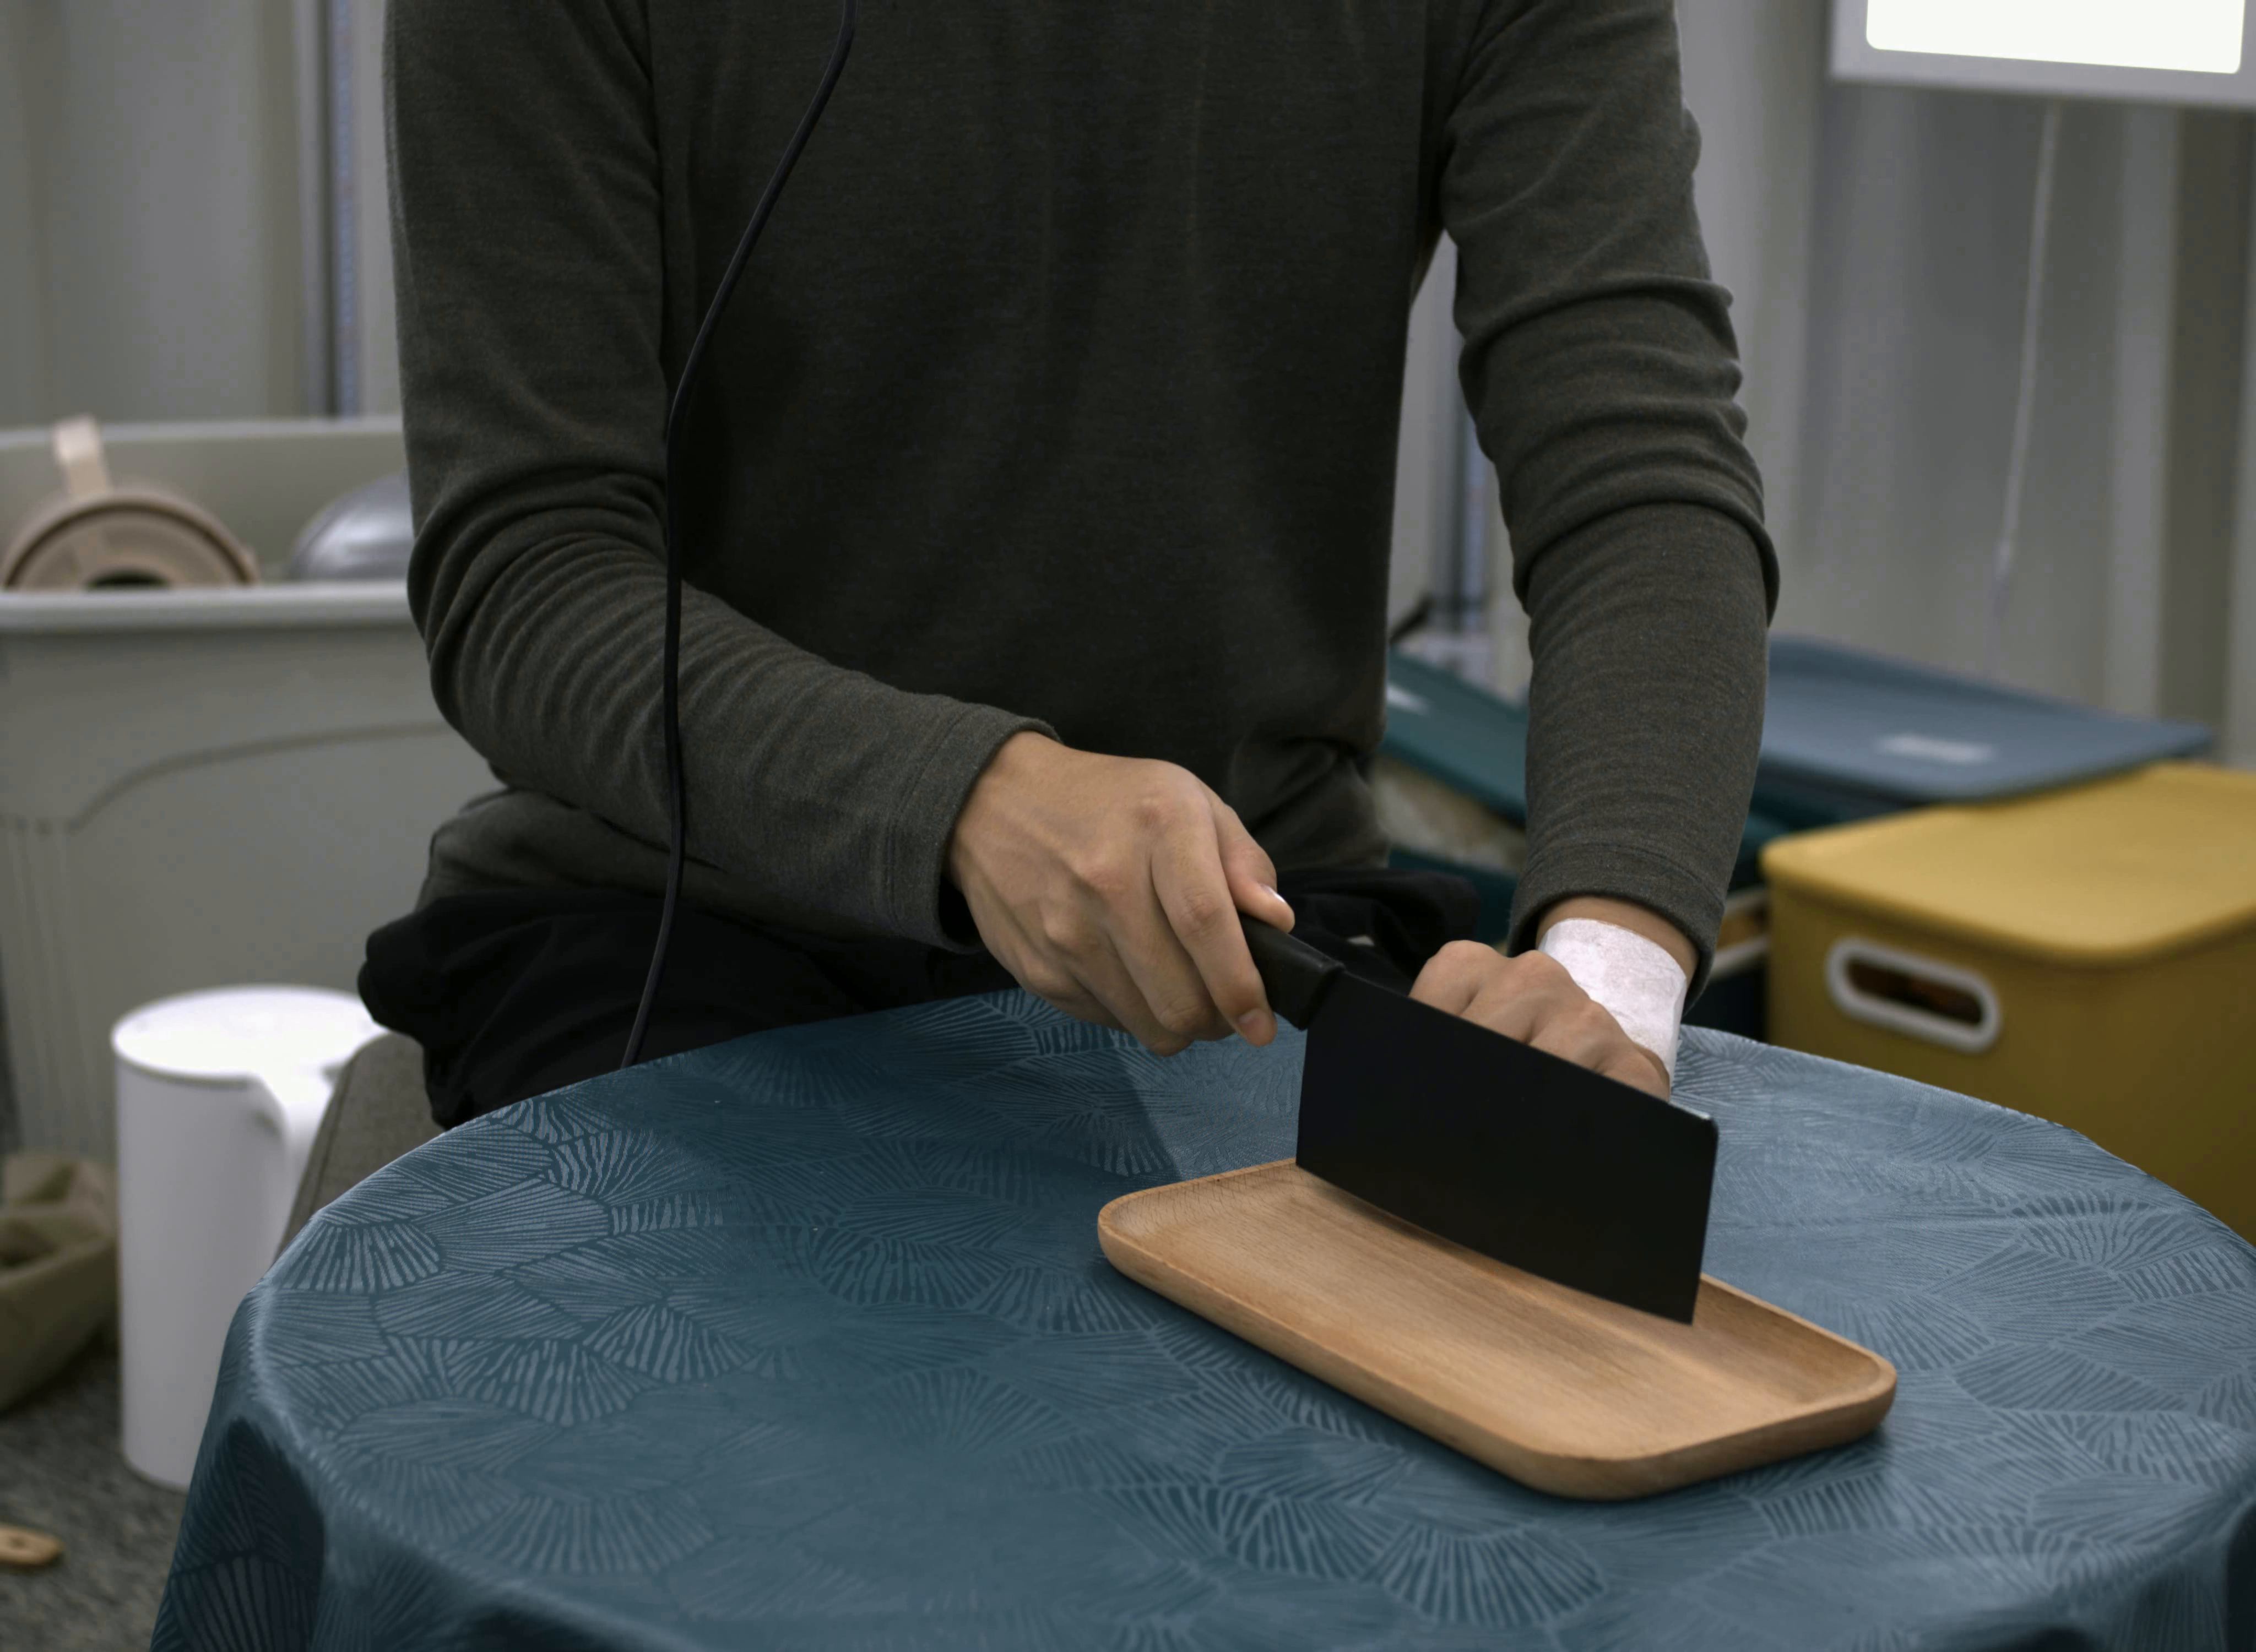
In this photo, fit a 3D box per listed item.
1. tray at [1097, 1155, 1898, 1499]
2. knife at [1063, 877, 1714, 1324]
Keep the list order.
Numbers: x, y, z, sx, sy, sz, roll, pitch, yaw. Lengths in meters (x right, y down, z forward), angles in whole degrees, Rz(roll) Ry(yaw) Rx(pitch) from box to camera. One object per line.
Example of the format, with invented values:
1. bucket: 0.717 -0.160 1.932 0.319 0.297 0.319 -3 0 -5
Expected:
1. tray: 0.101 0.139 1.504 0.131 0.023 0.247 -6 15 -32
2. knife: 0.072 0.075 1.568 0.021 0.081 0.298 -3 20 -37
